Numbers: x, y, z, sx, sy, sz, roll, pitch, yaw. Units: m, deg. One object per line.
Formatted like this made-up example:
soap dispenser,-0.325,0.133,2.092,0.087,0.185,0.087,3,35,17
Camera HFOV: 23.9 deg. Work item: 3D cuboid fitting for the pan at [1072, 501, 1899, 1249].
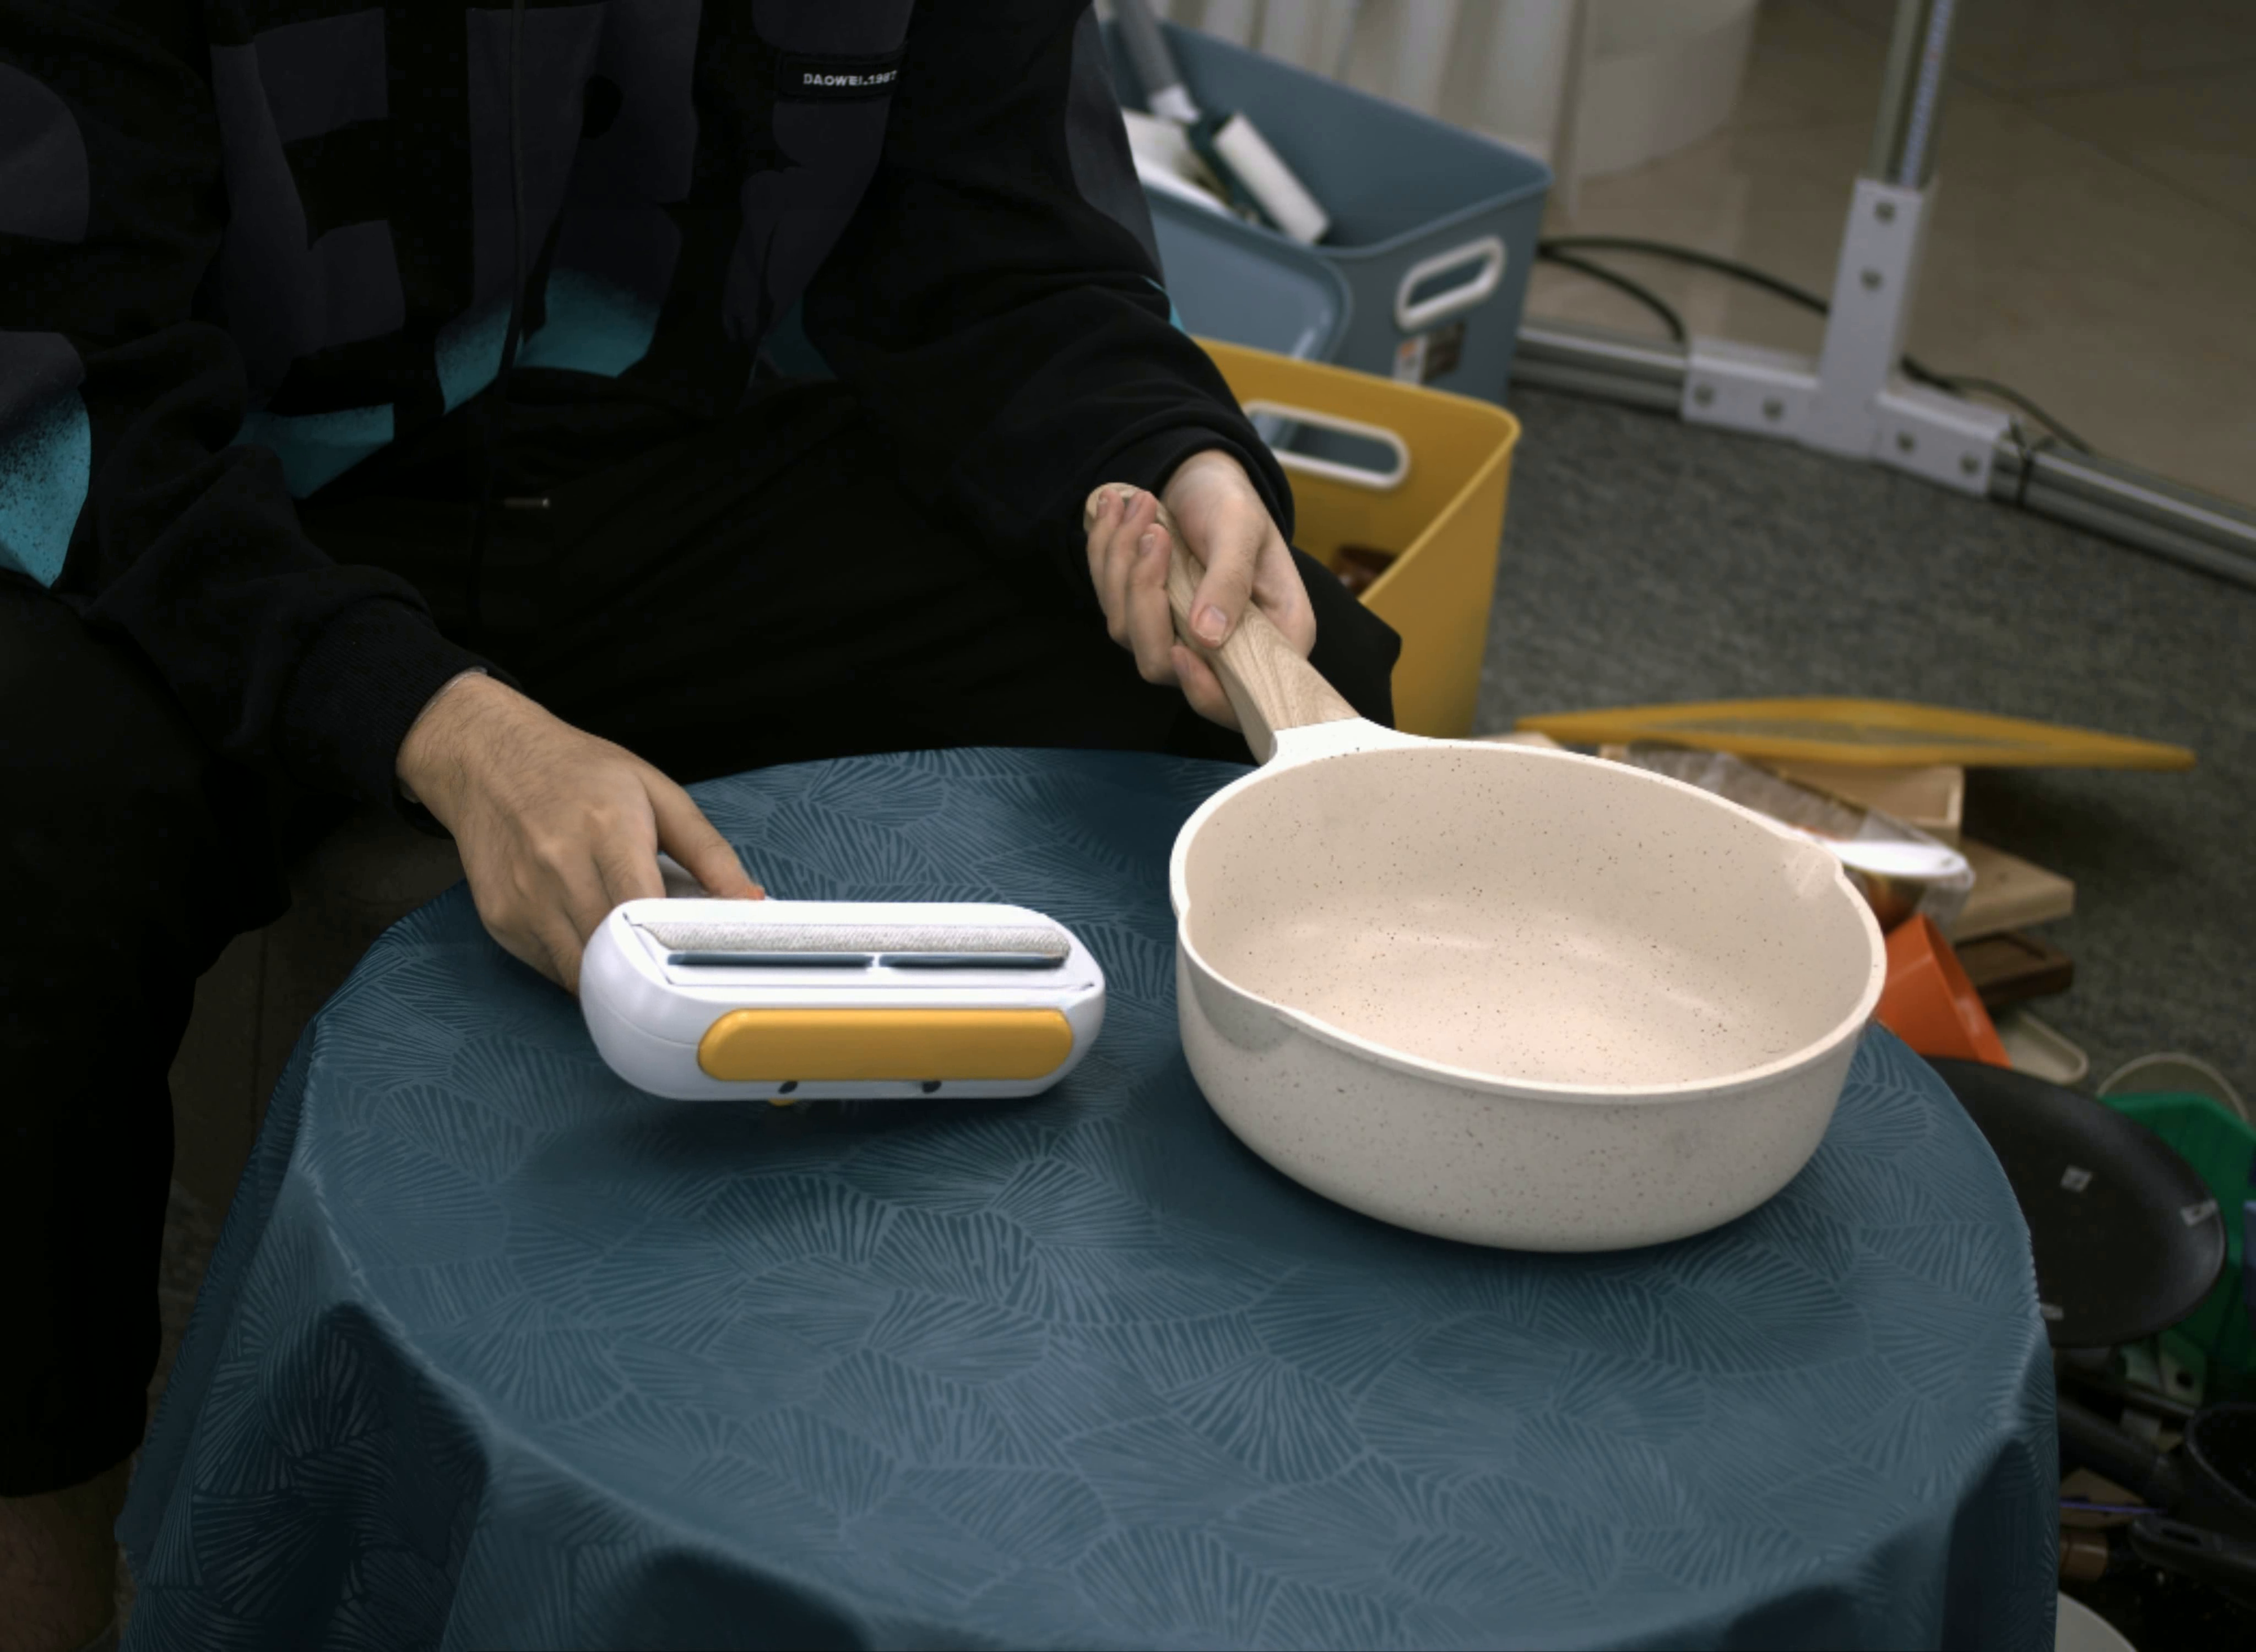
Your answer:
pan,0.094,0.014,1.925,0.262,0.101,0.439,-11,32,-27

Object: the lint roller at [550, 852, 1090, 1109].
lint roller,-0.130,0.041,1.857,0.191,0.074,0.194,-1,25,-28
